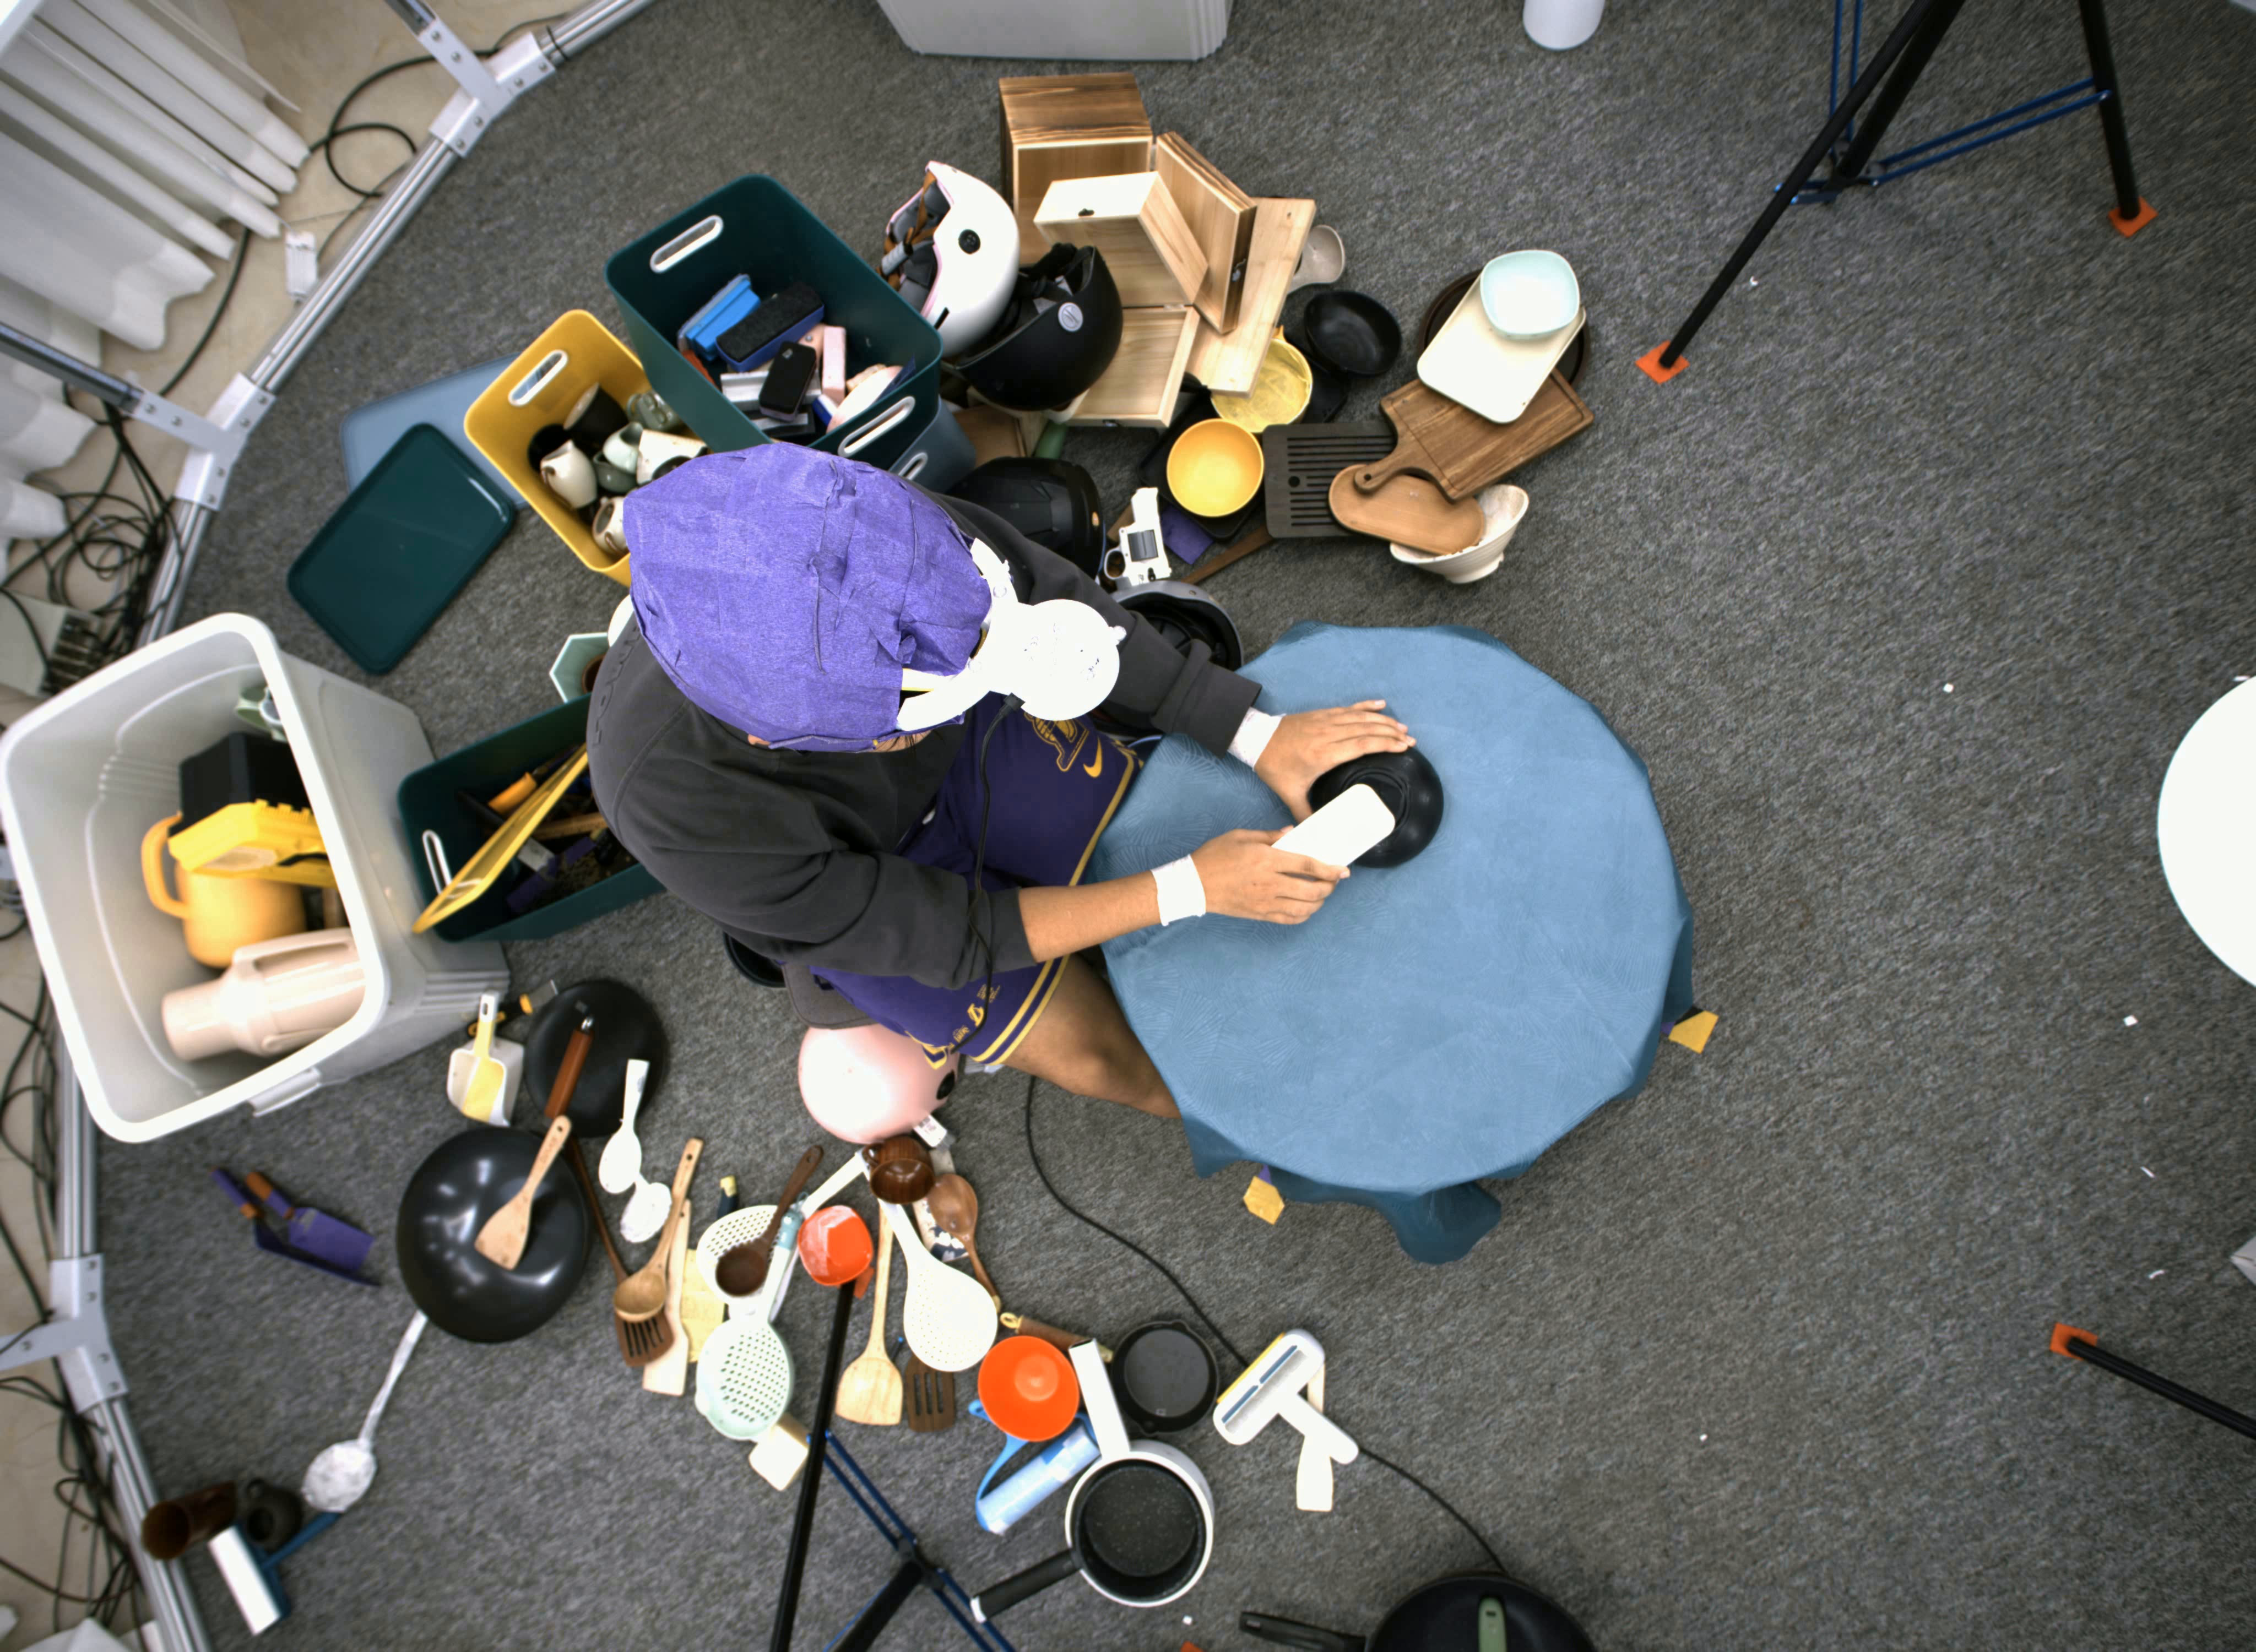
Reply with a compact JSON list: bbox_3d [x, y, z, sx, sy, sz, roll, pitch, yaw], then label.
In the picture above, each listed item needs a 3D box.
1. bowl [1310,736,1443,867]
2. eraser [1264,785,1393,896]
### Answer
[{"bbox_3d":[0.256,-0.025,1.430,0.140,0.049,0.141,1,97,12],"label":"bowl"},{"bbox_3d":[0.202,0.014,1.397,0.131,0.035,0.063,-34,75,1],"label":"eraser"}]
